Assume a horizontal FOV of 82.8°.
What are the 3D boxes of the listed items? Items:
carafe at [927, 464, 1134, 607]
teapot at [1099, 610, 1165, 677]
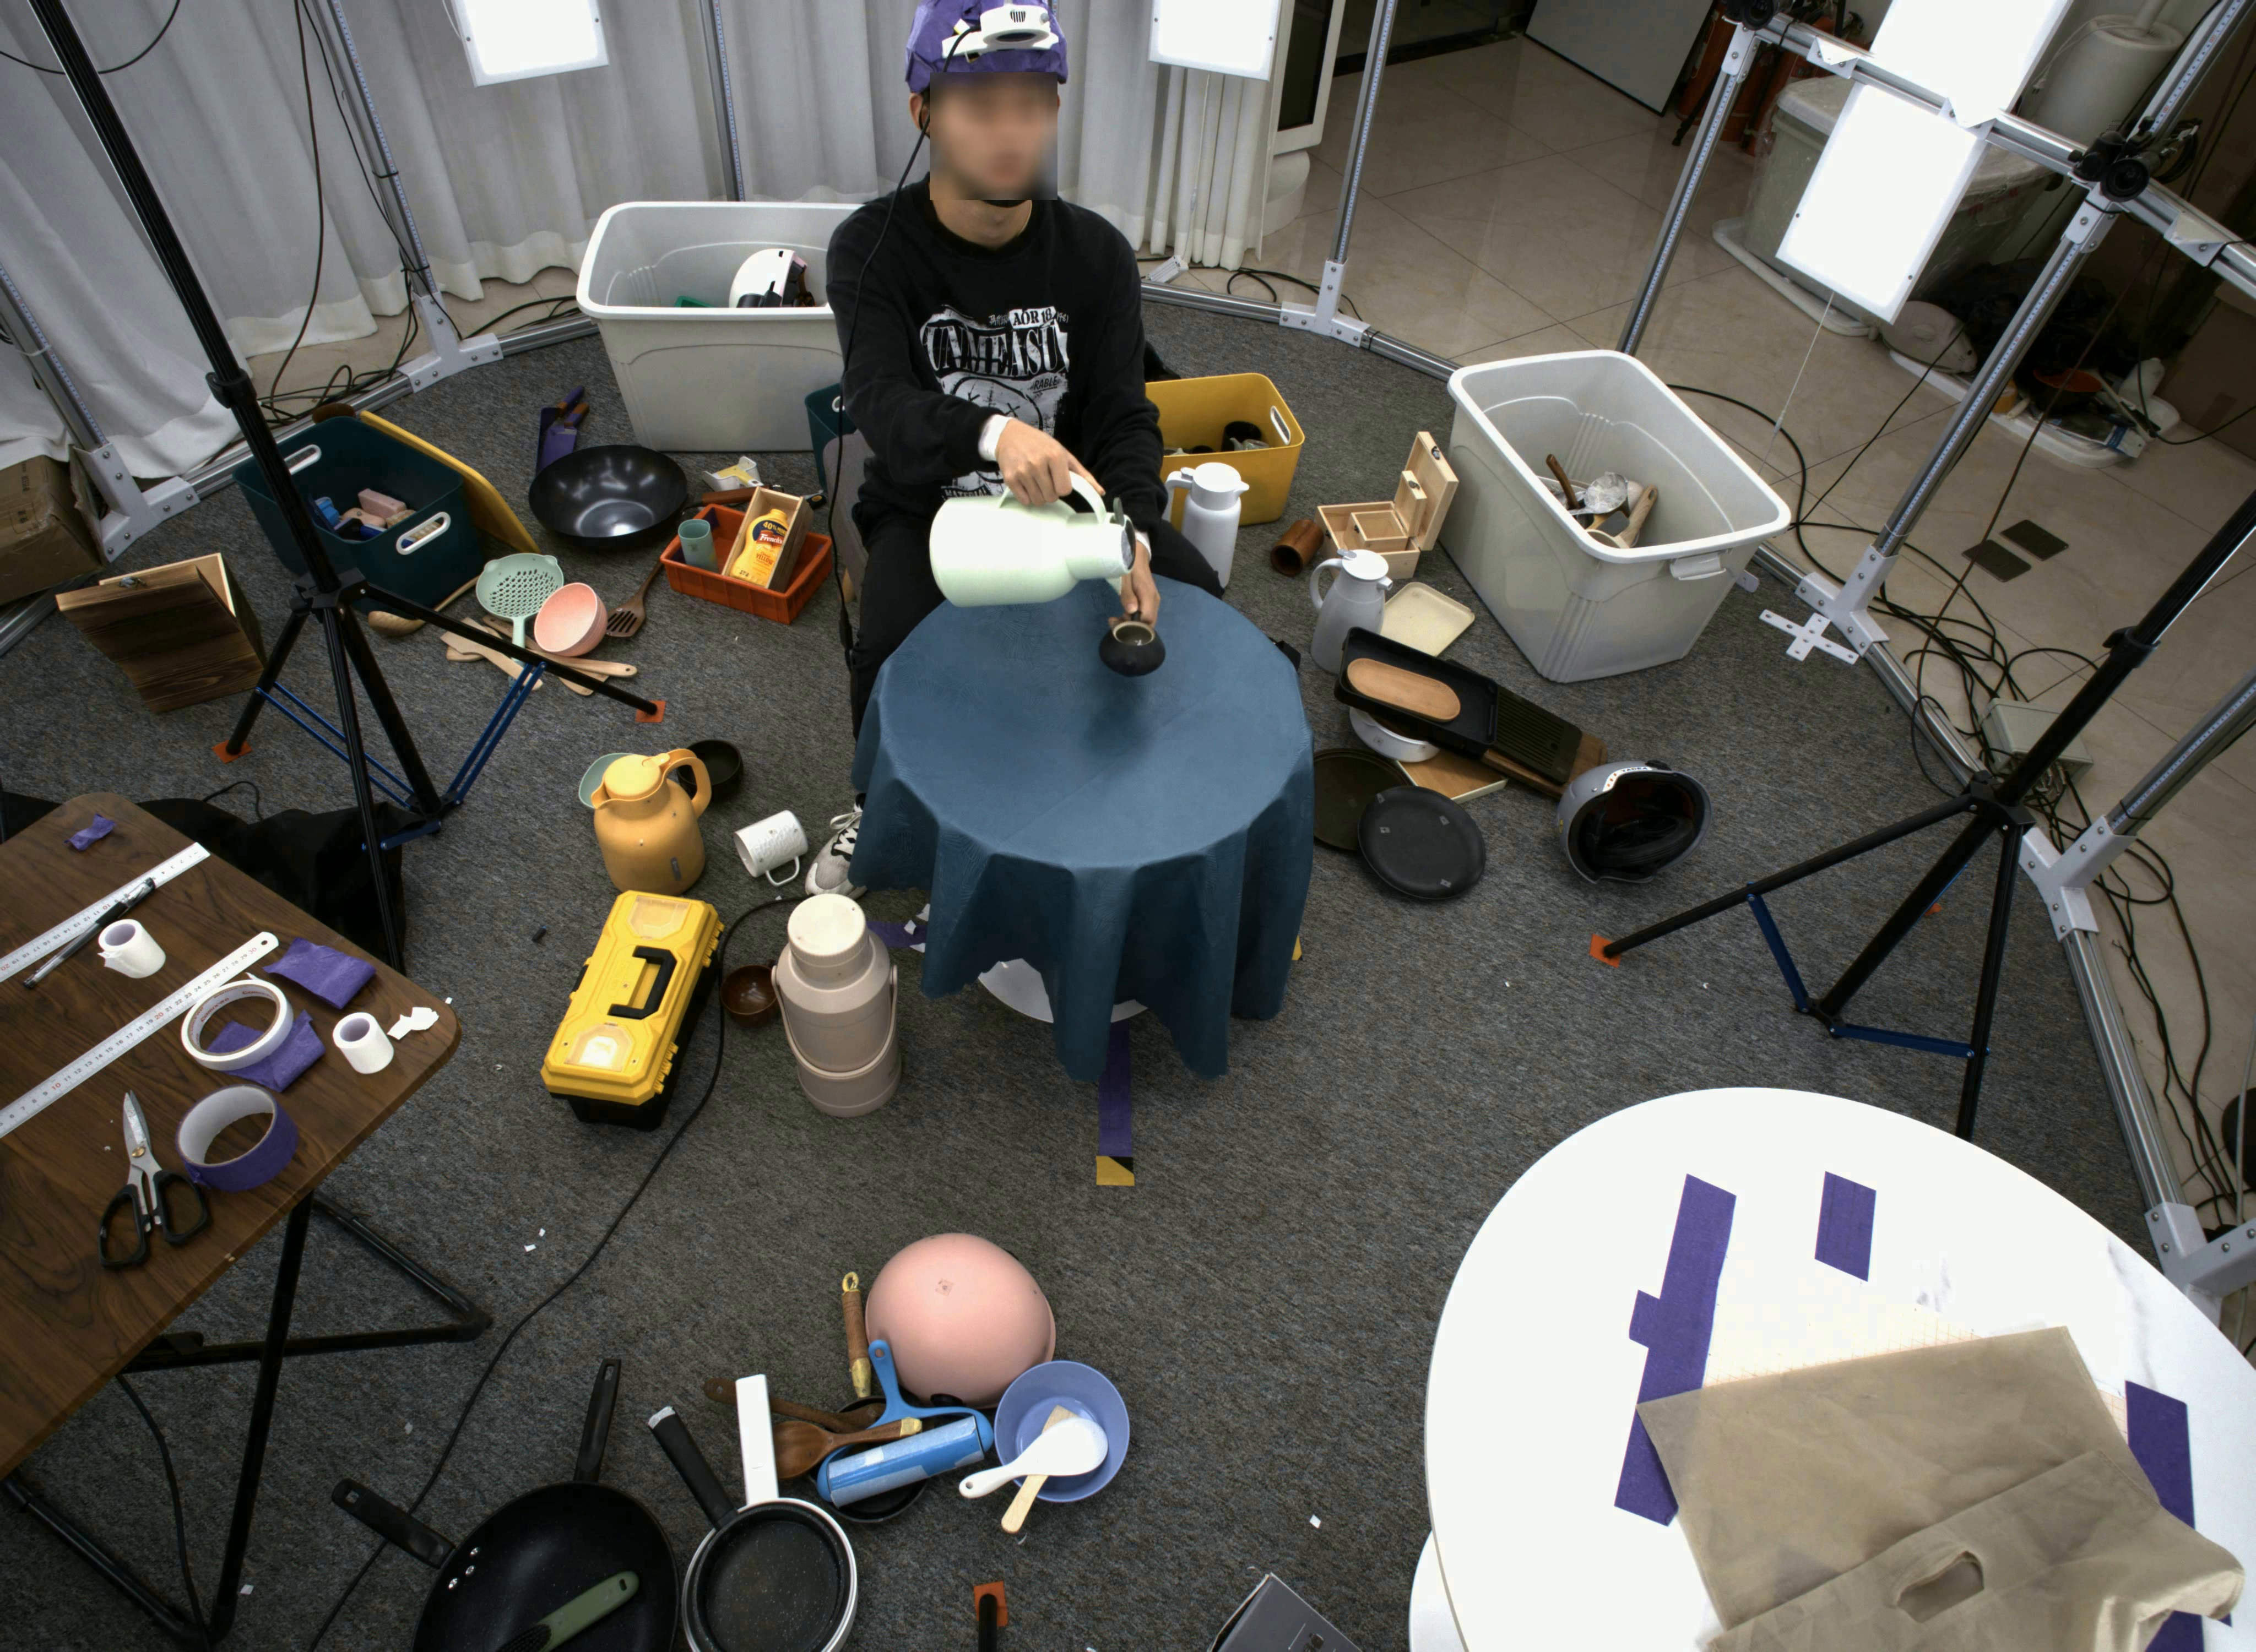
[{"bbox_3d":[-0.125,-0.374,1.671,0.257,0.182,0.147,-1,42,21],"label":"carafe"},{"bbox_3d":[0.006,-0.242,1.750,0.091,0.052,0.136,7,43,1],"label":"teapot"}]
